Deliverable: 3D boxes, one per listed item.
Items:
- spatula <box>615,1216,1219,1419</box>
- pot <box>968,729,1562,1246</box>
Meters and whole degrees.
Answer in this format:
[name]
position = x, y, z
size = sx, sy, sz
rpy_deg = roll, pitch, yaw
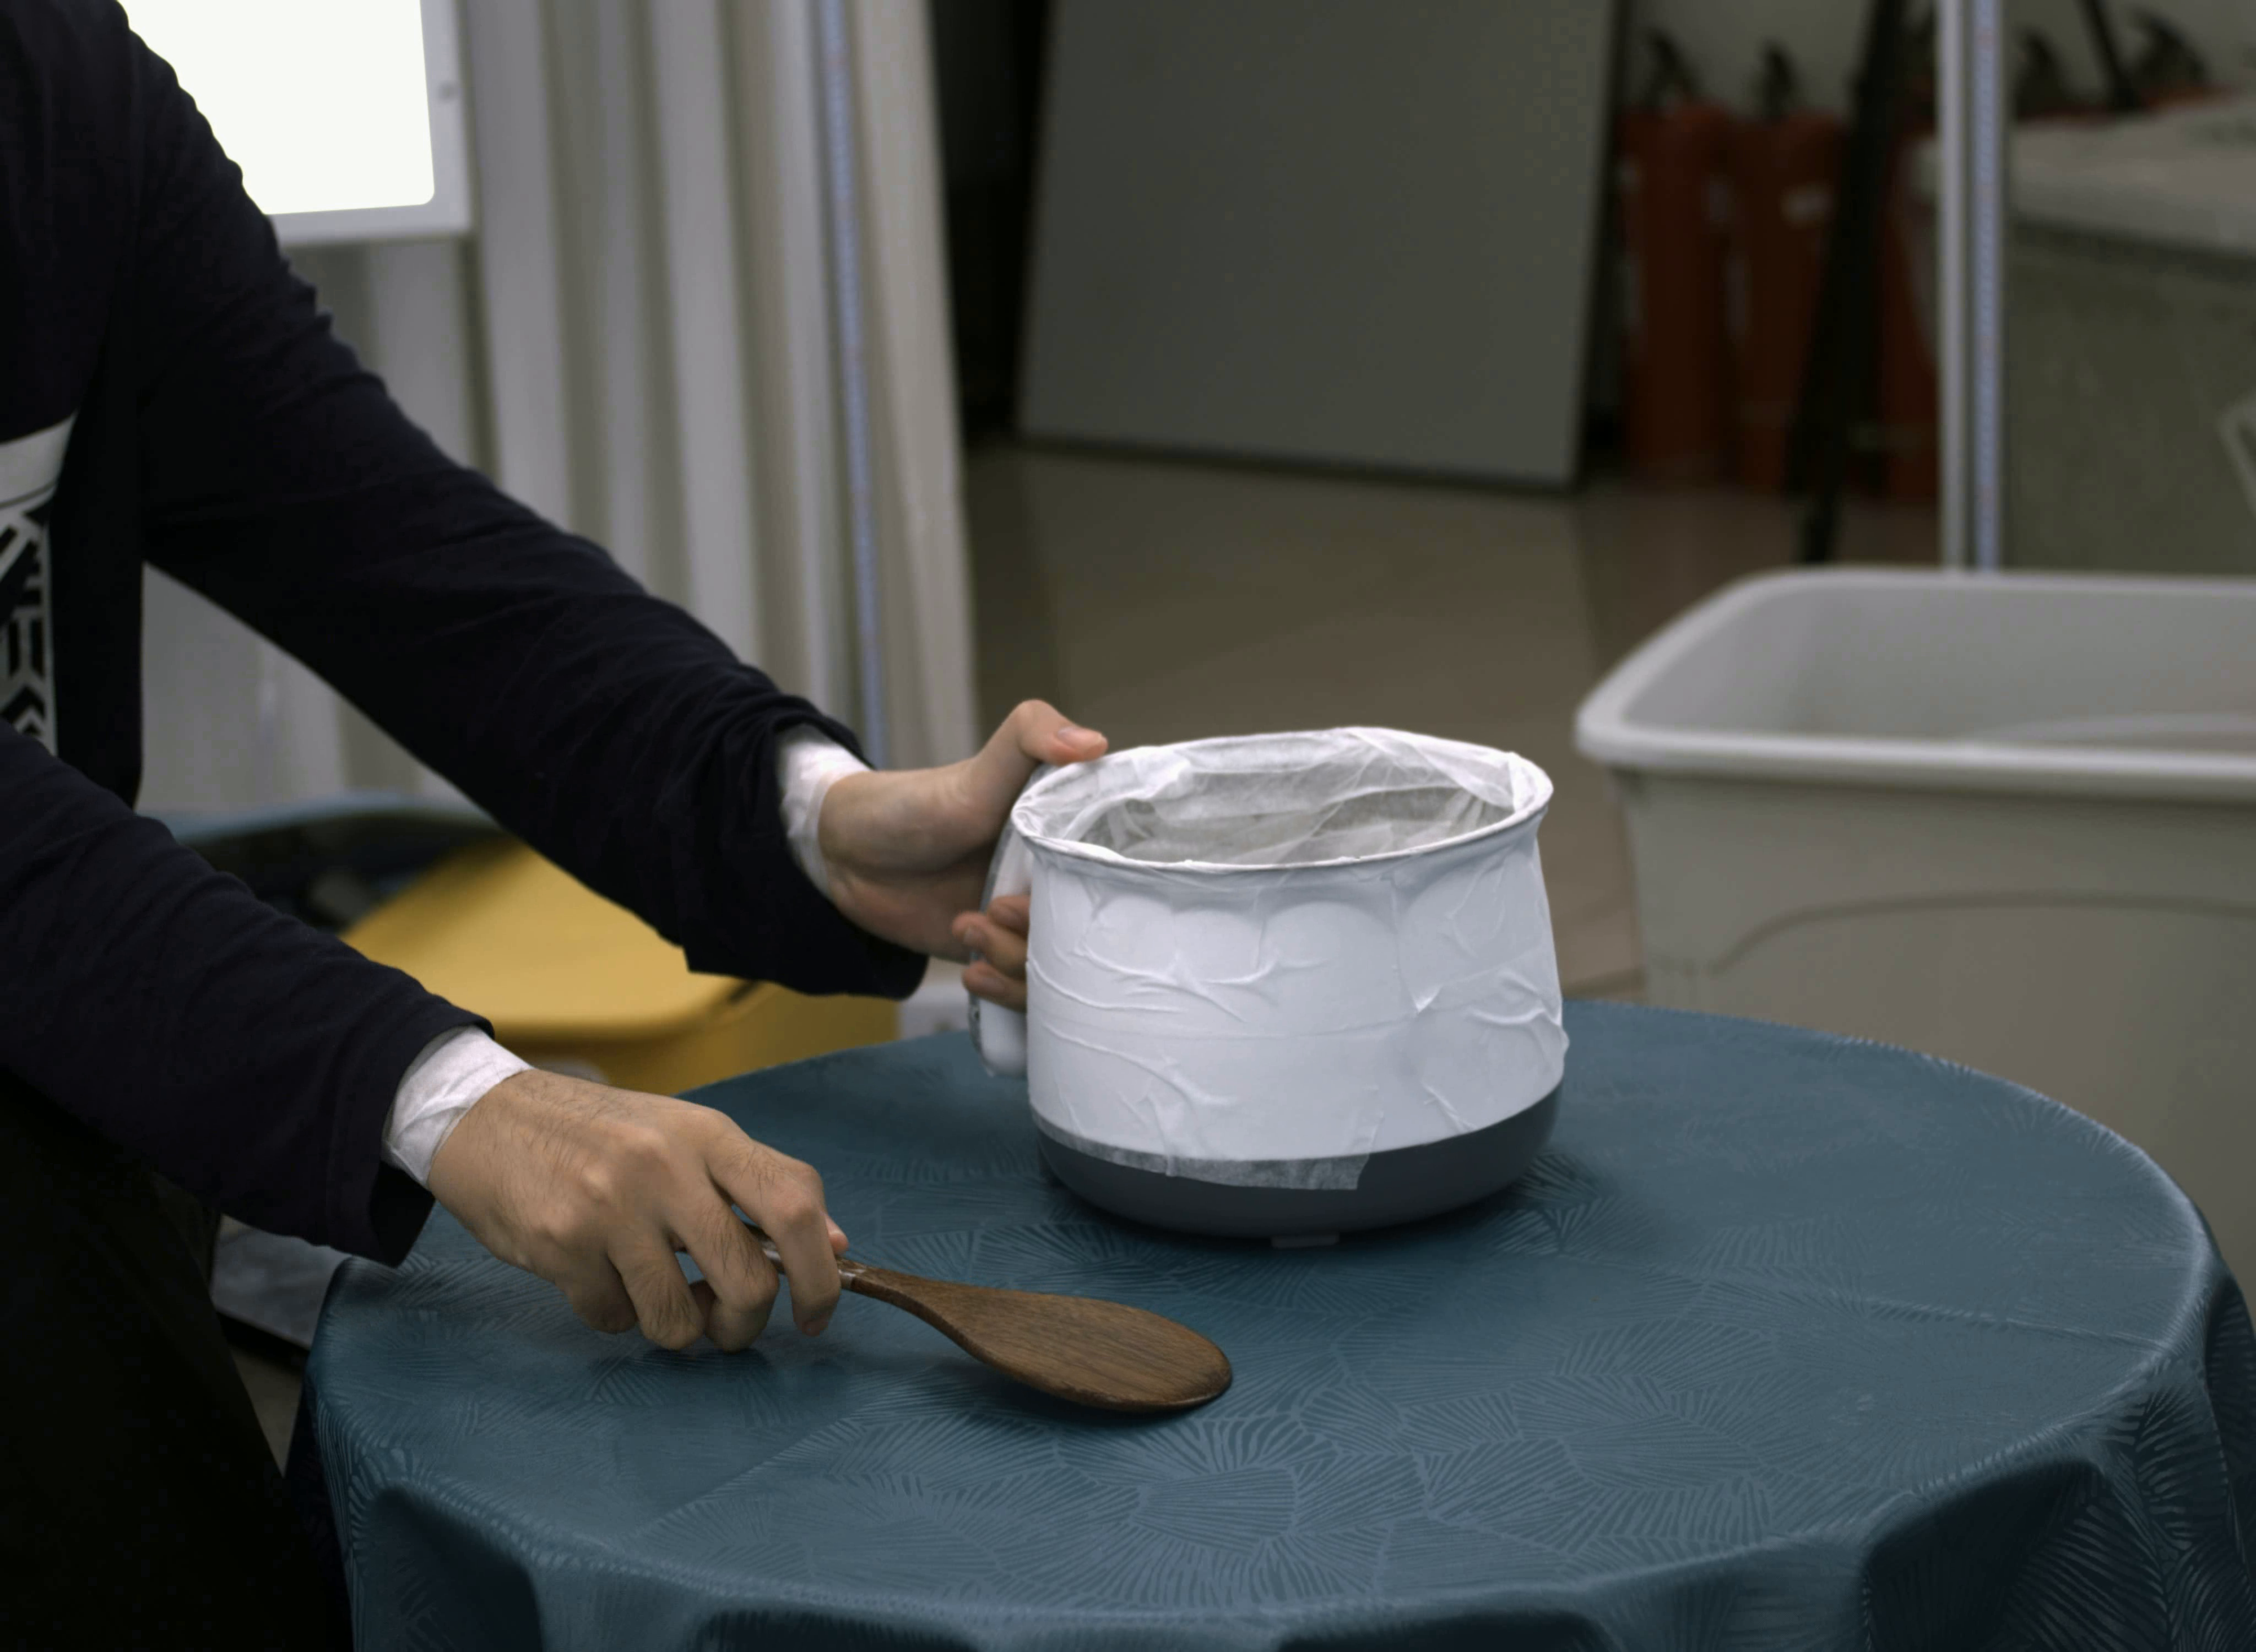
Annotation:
[spatula]
position = -0.066, 0.144, 1.625
size = 0.217, 0.009, 0.070
rpy_deg = 14, 15, 32
[pot]
position = 0.034, 0.046, 1.775
size = 0.236, 0.138, 0.175
rpy_deg = 11, 17, 44
